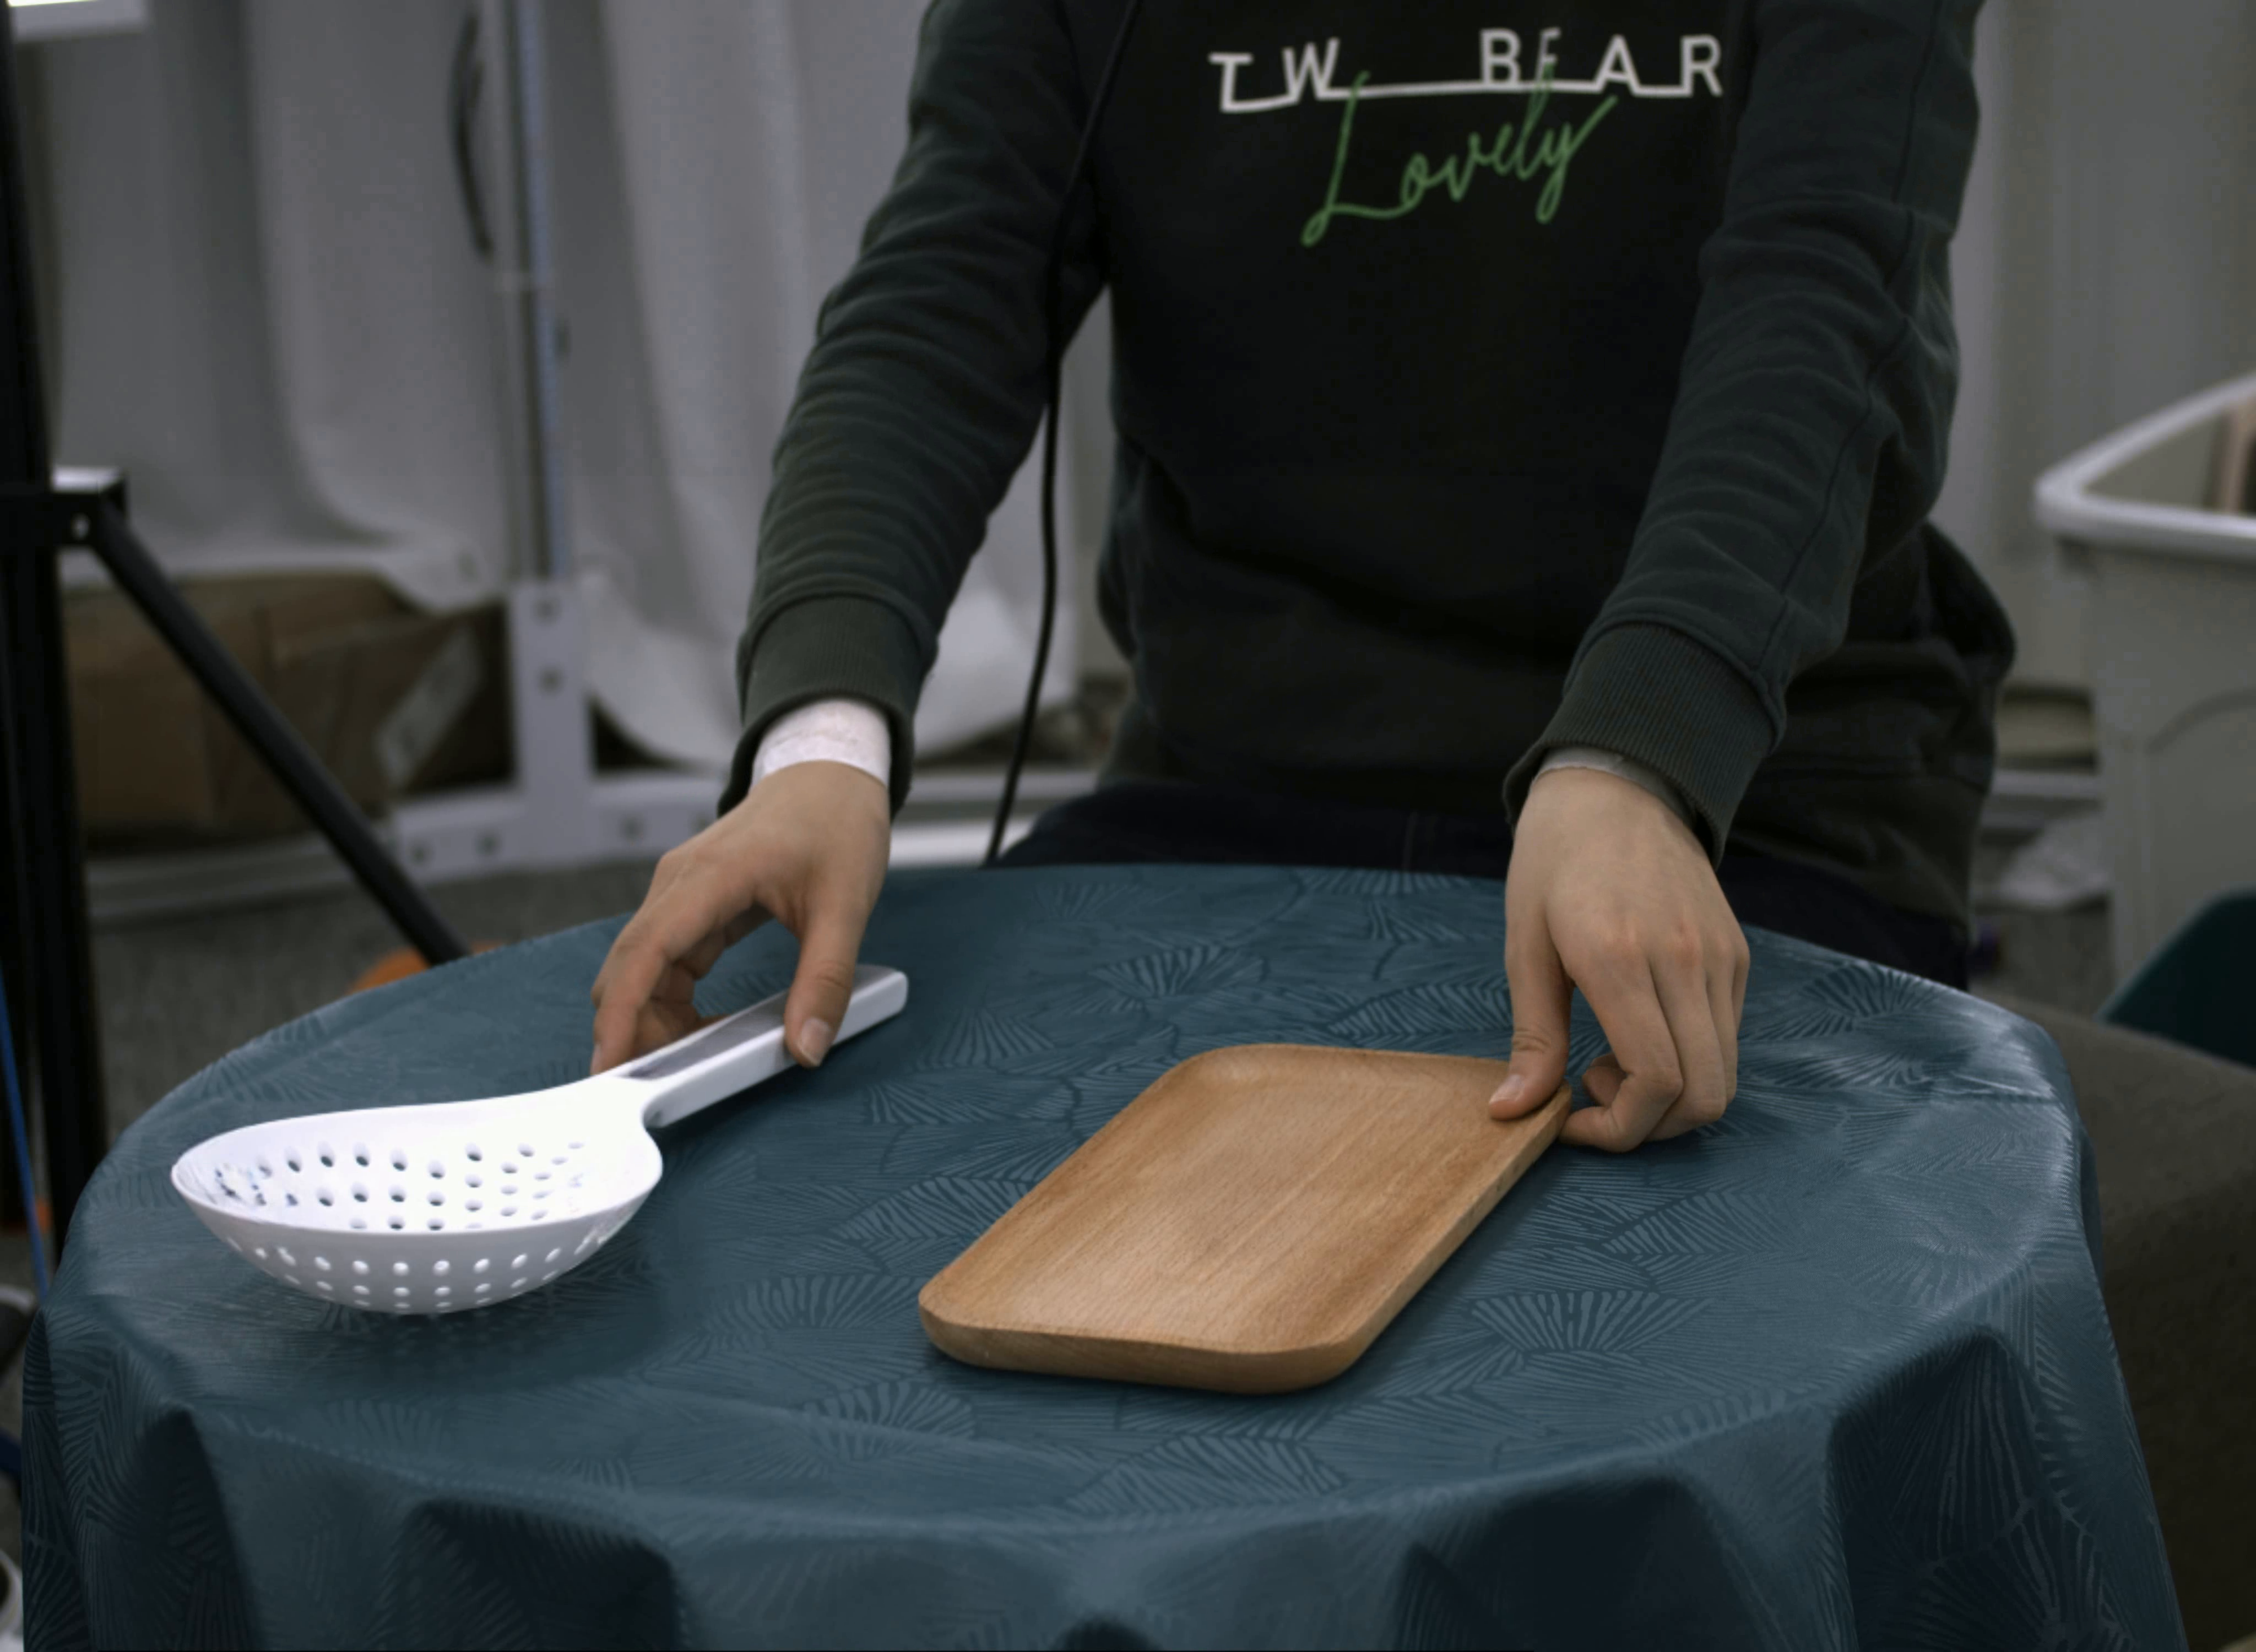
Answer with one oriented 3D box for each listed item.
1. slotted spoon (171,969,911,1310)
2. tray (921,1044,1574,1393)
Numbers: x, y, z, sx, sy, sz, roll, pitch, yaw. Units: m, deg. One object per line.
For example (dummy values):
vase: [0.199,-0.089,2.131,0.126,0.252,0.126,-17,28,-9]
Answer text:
slotted spoon: [-0.154,0.084,1.587,0.138,0.046,0.344,7,17,24]
tray: [0.039,0.109,1.516,0.132,0.023,0.247,5,17,21]
